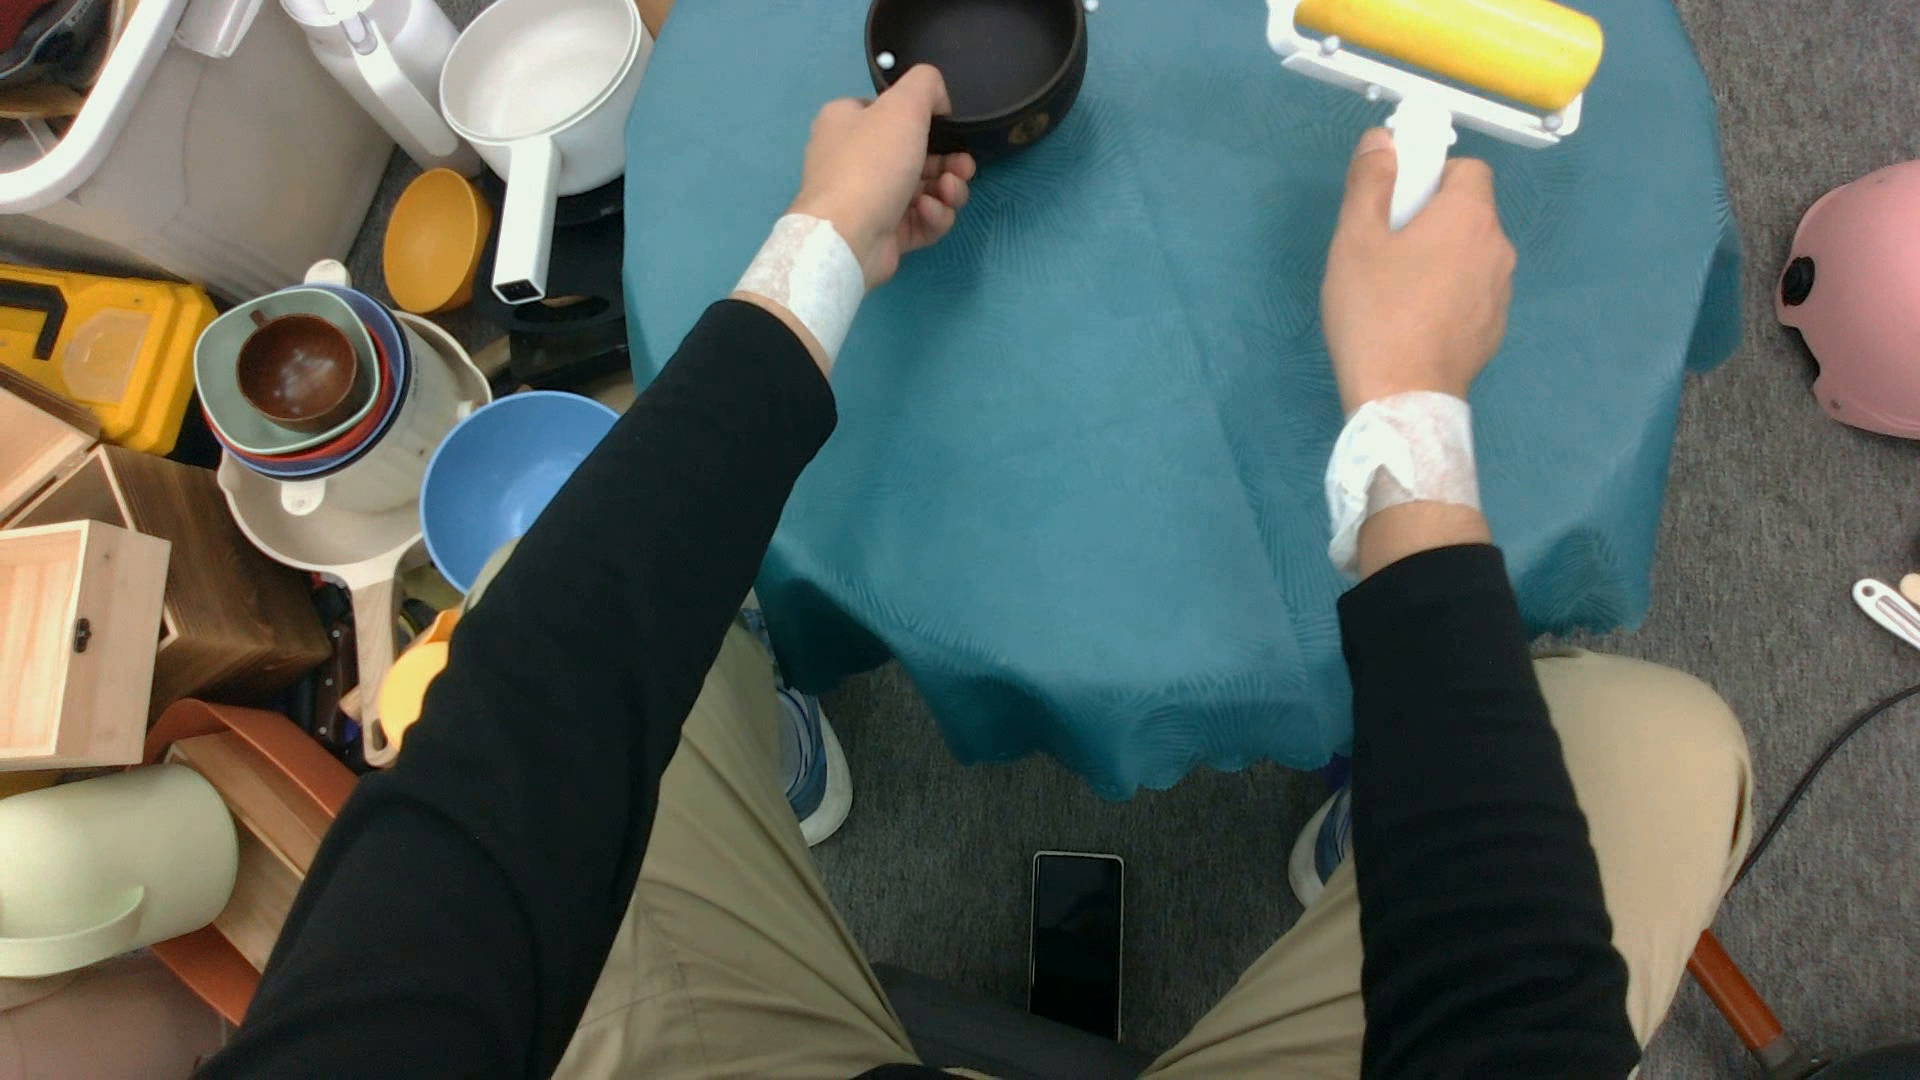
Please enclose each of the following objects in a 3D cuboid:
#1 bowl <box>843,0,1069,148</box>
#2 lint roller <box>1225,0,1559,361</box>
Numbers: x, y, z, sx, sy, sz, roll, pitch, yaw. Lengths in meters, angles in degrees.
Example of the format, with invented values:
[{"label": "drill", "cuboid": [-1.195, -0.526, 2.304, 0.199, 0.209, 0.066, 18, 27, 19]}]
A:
[{"label": "bowl", "cuboid": [0.001, -0.264, 0.744, 0.118, 0.070, 0.118, -3, 72, 8]}, {"label": "lint roller", "cuboid": [0.205, -0.181, 0.639, 0.174, 0.051, 0.192, 7, 76, -23]}]
